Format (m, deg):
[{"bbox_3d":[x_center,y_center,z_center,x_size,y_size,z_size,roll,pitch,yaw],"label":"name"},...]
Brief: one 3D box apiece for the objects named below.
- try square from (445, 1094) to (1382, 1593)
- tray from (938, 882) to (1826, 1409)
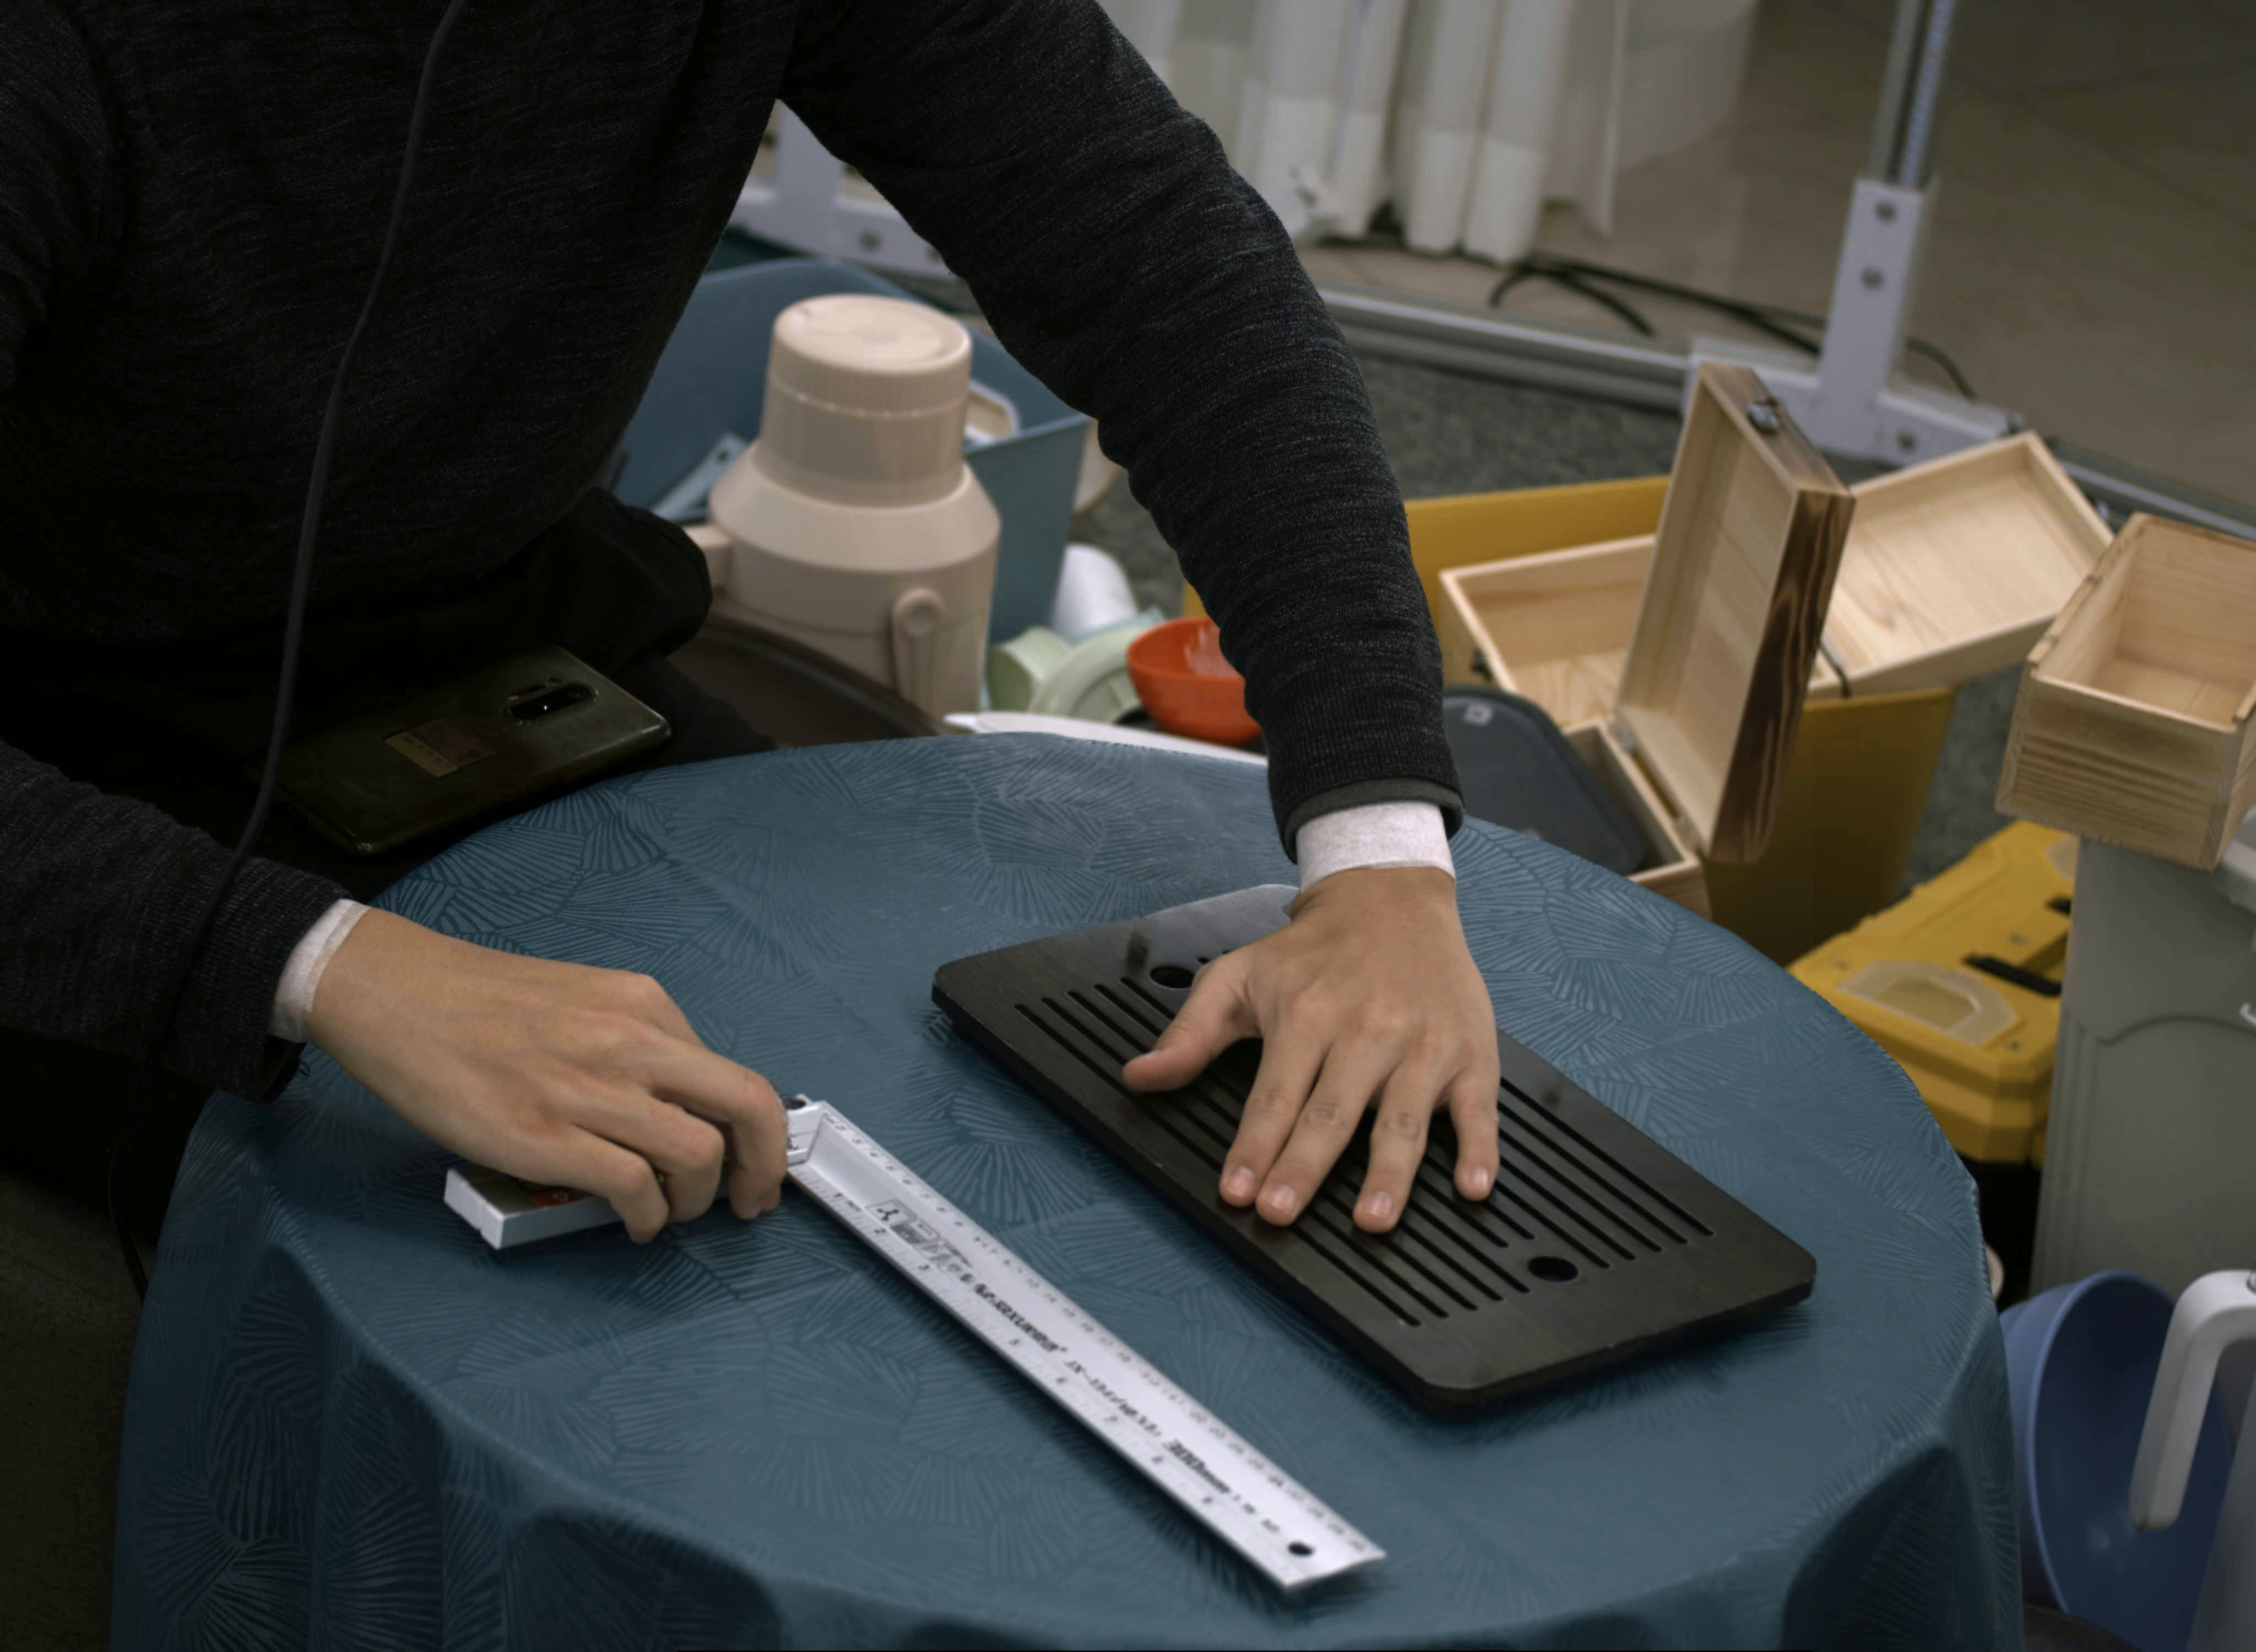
[{"bbox_3d":[-0.074,0.167,1.671,0.151,0.016,0.315,-8,29,-36],"label":"try square"},{"bbox_3d":[0.082,0.106,1.835,0.169,0.018,0.308,-13,33,-33],"label":"tray"}]
